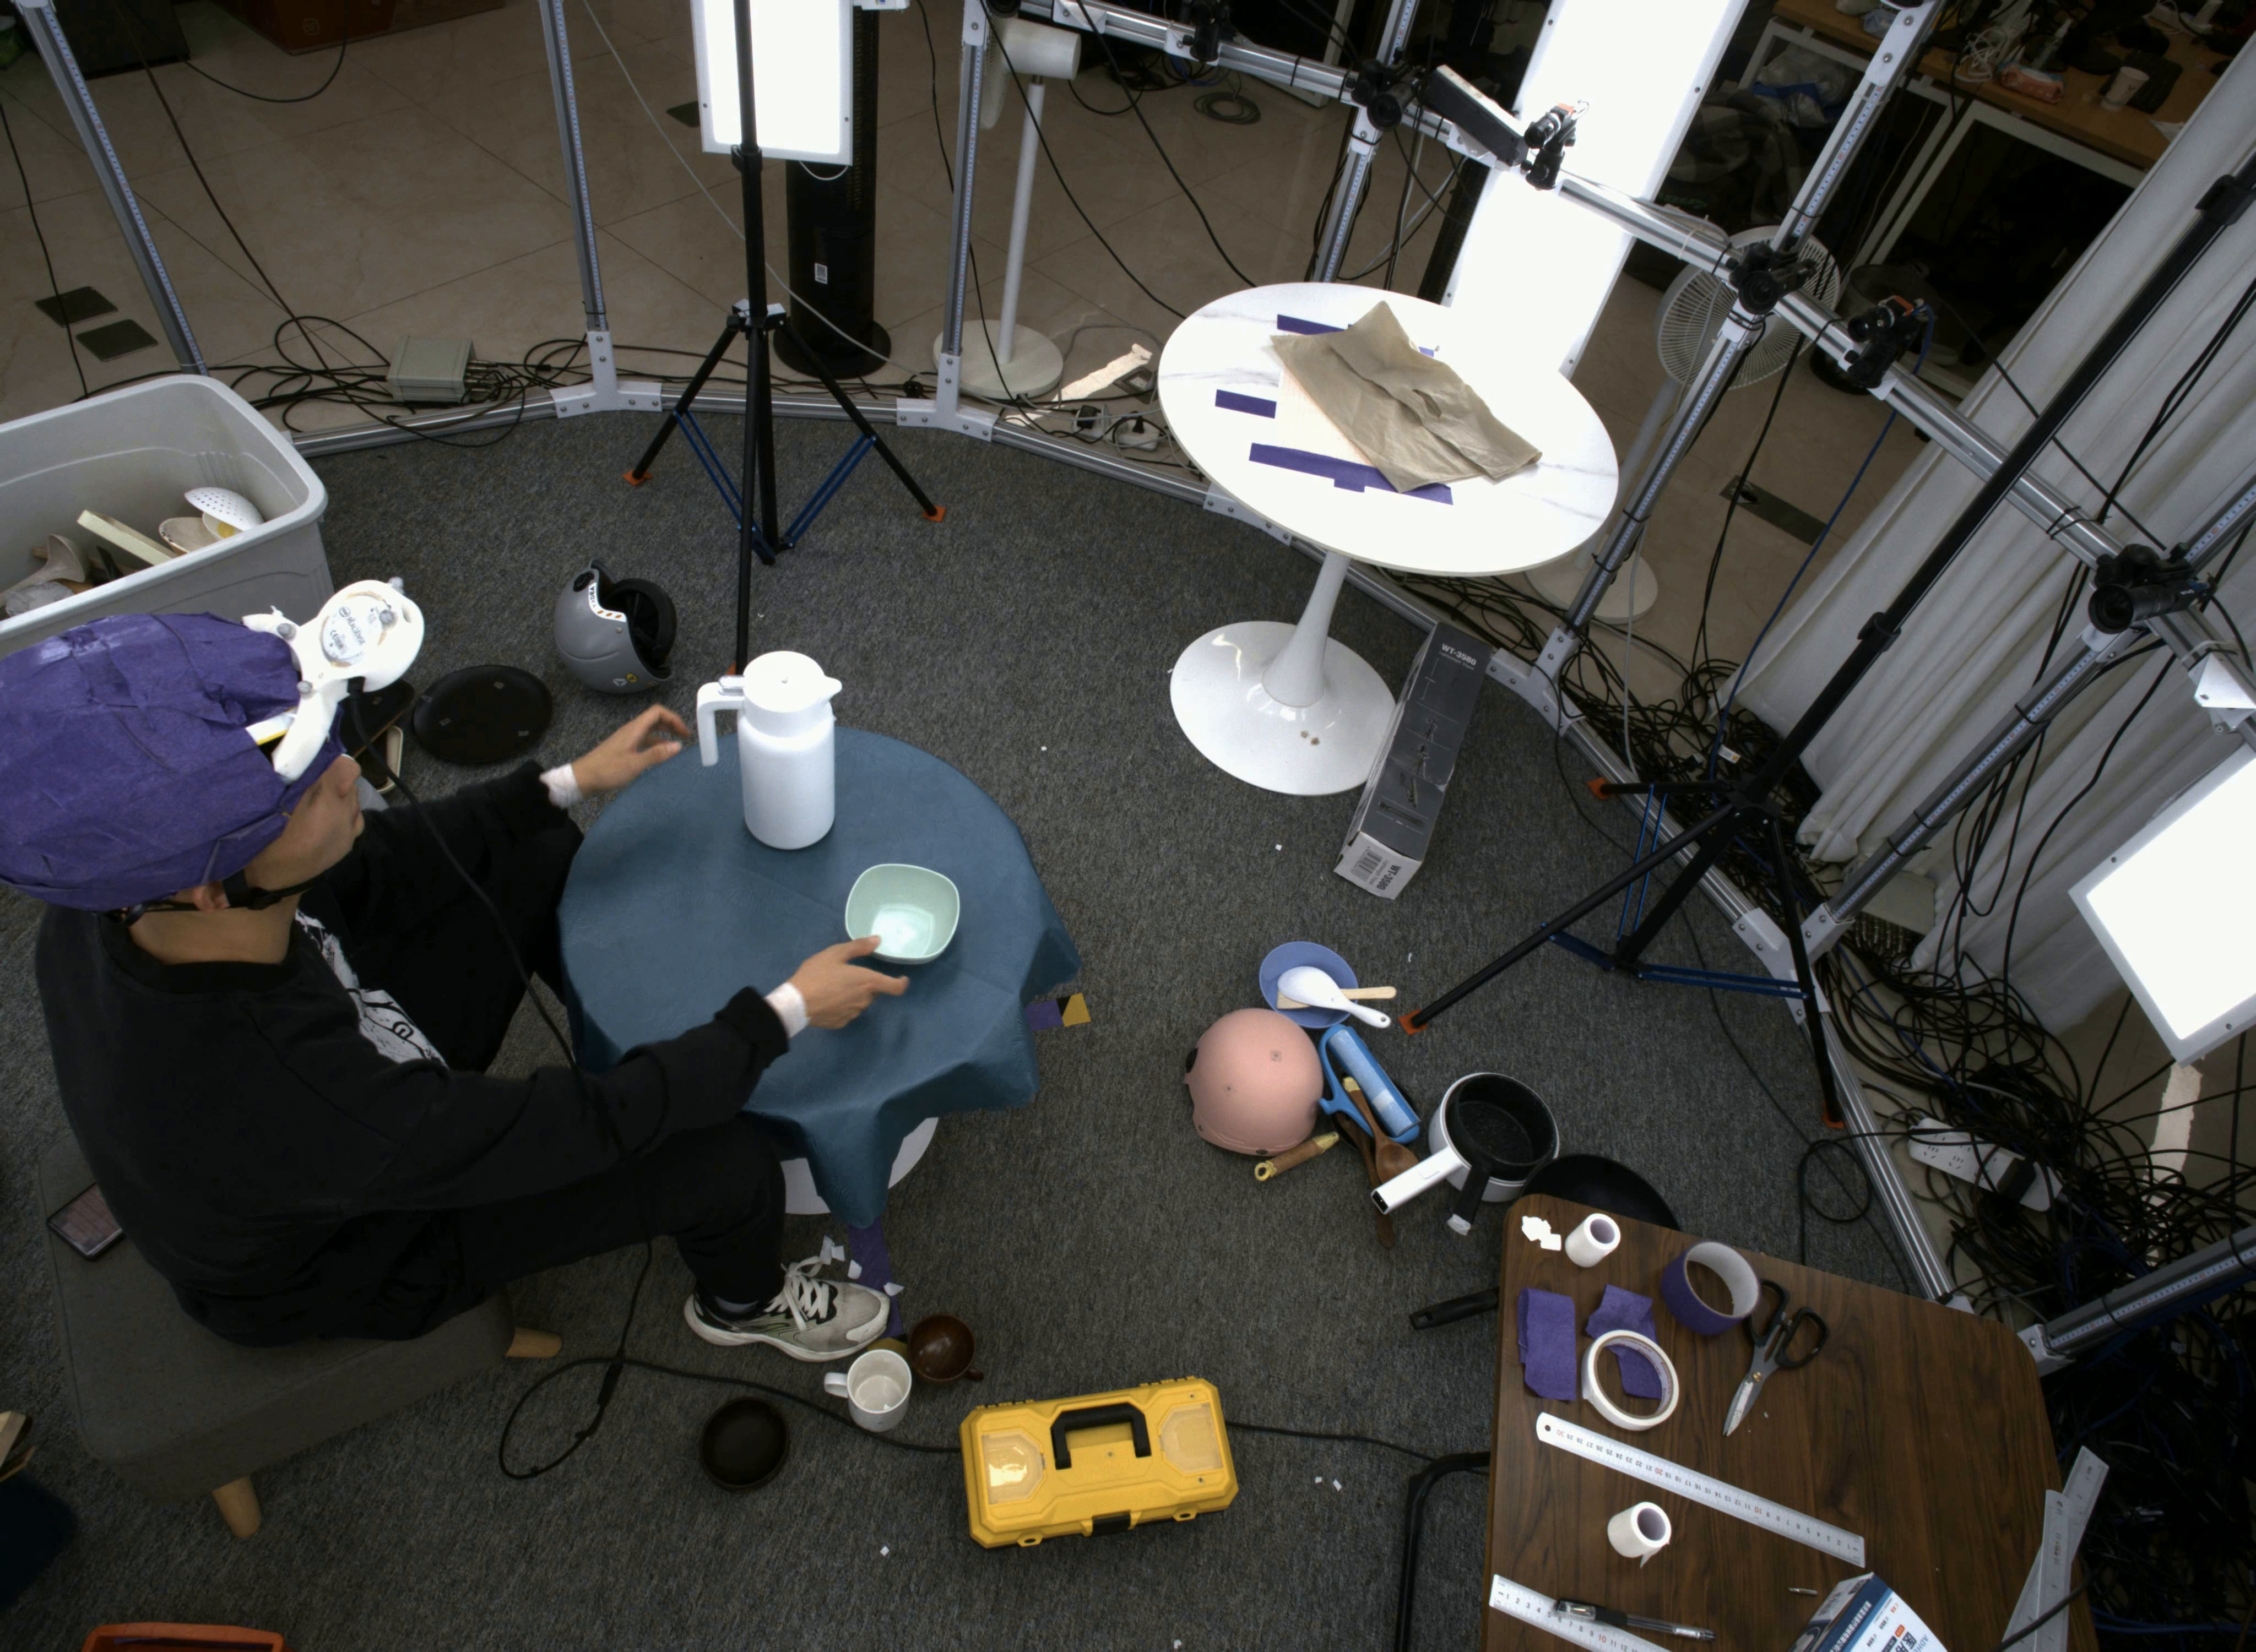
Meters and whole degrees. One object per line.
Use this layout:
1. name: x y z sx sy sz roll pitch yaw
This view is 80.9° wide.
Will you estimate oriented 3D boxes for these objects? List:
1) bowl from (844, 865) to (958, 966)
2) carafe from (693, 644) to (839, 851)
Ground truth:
1. bowl: -0.284 0.122 1.633 0.151 0.060 0.149 8 52 -8
2. carafe: -0.446 -0.093 1.612 0.173 0.274 0.121 -4 55 -15
